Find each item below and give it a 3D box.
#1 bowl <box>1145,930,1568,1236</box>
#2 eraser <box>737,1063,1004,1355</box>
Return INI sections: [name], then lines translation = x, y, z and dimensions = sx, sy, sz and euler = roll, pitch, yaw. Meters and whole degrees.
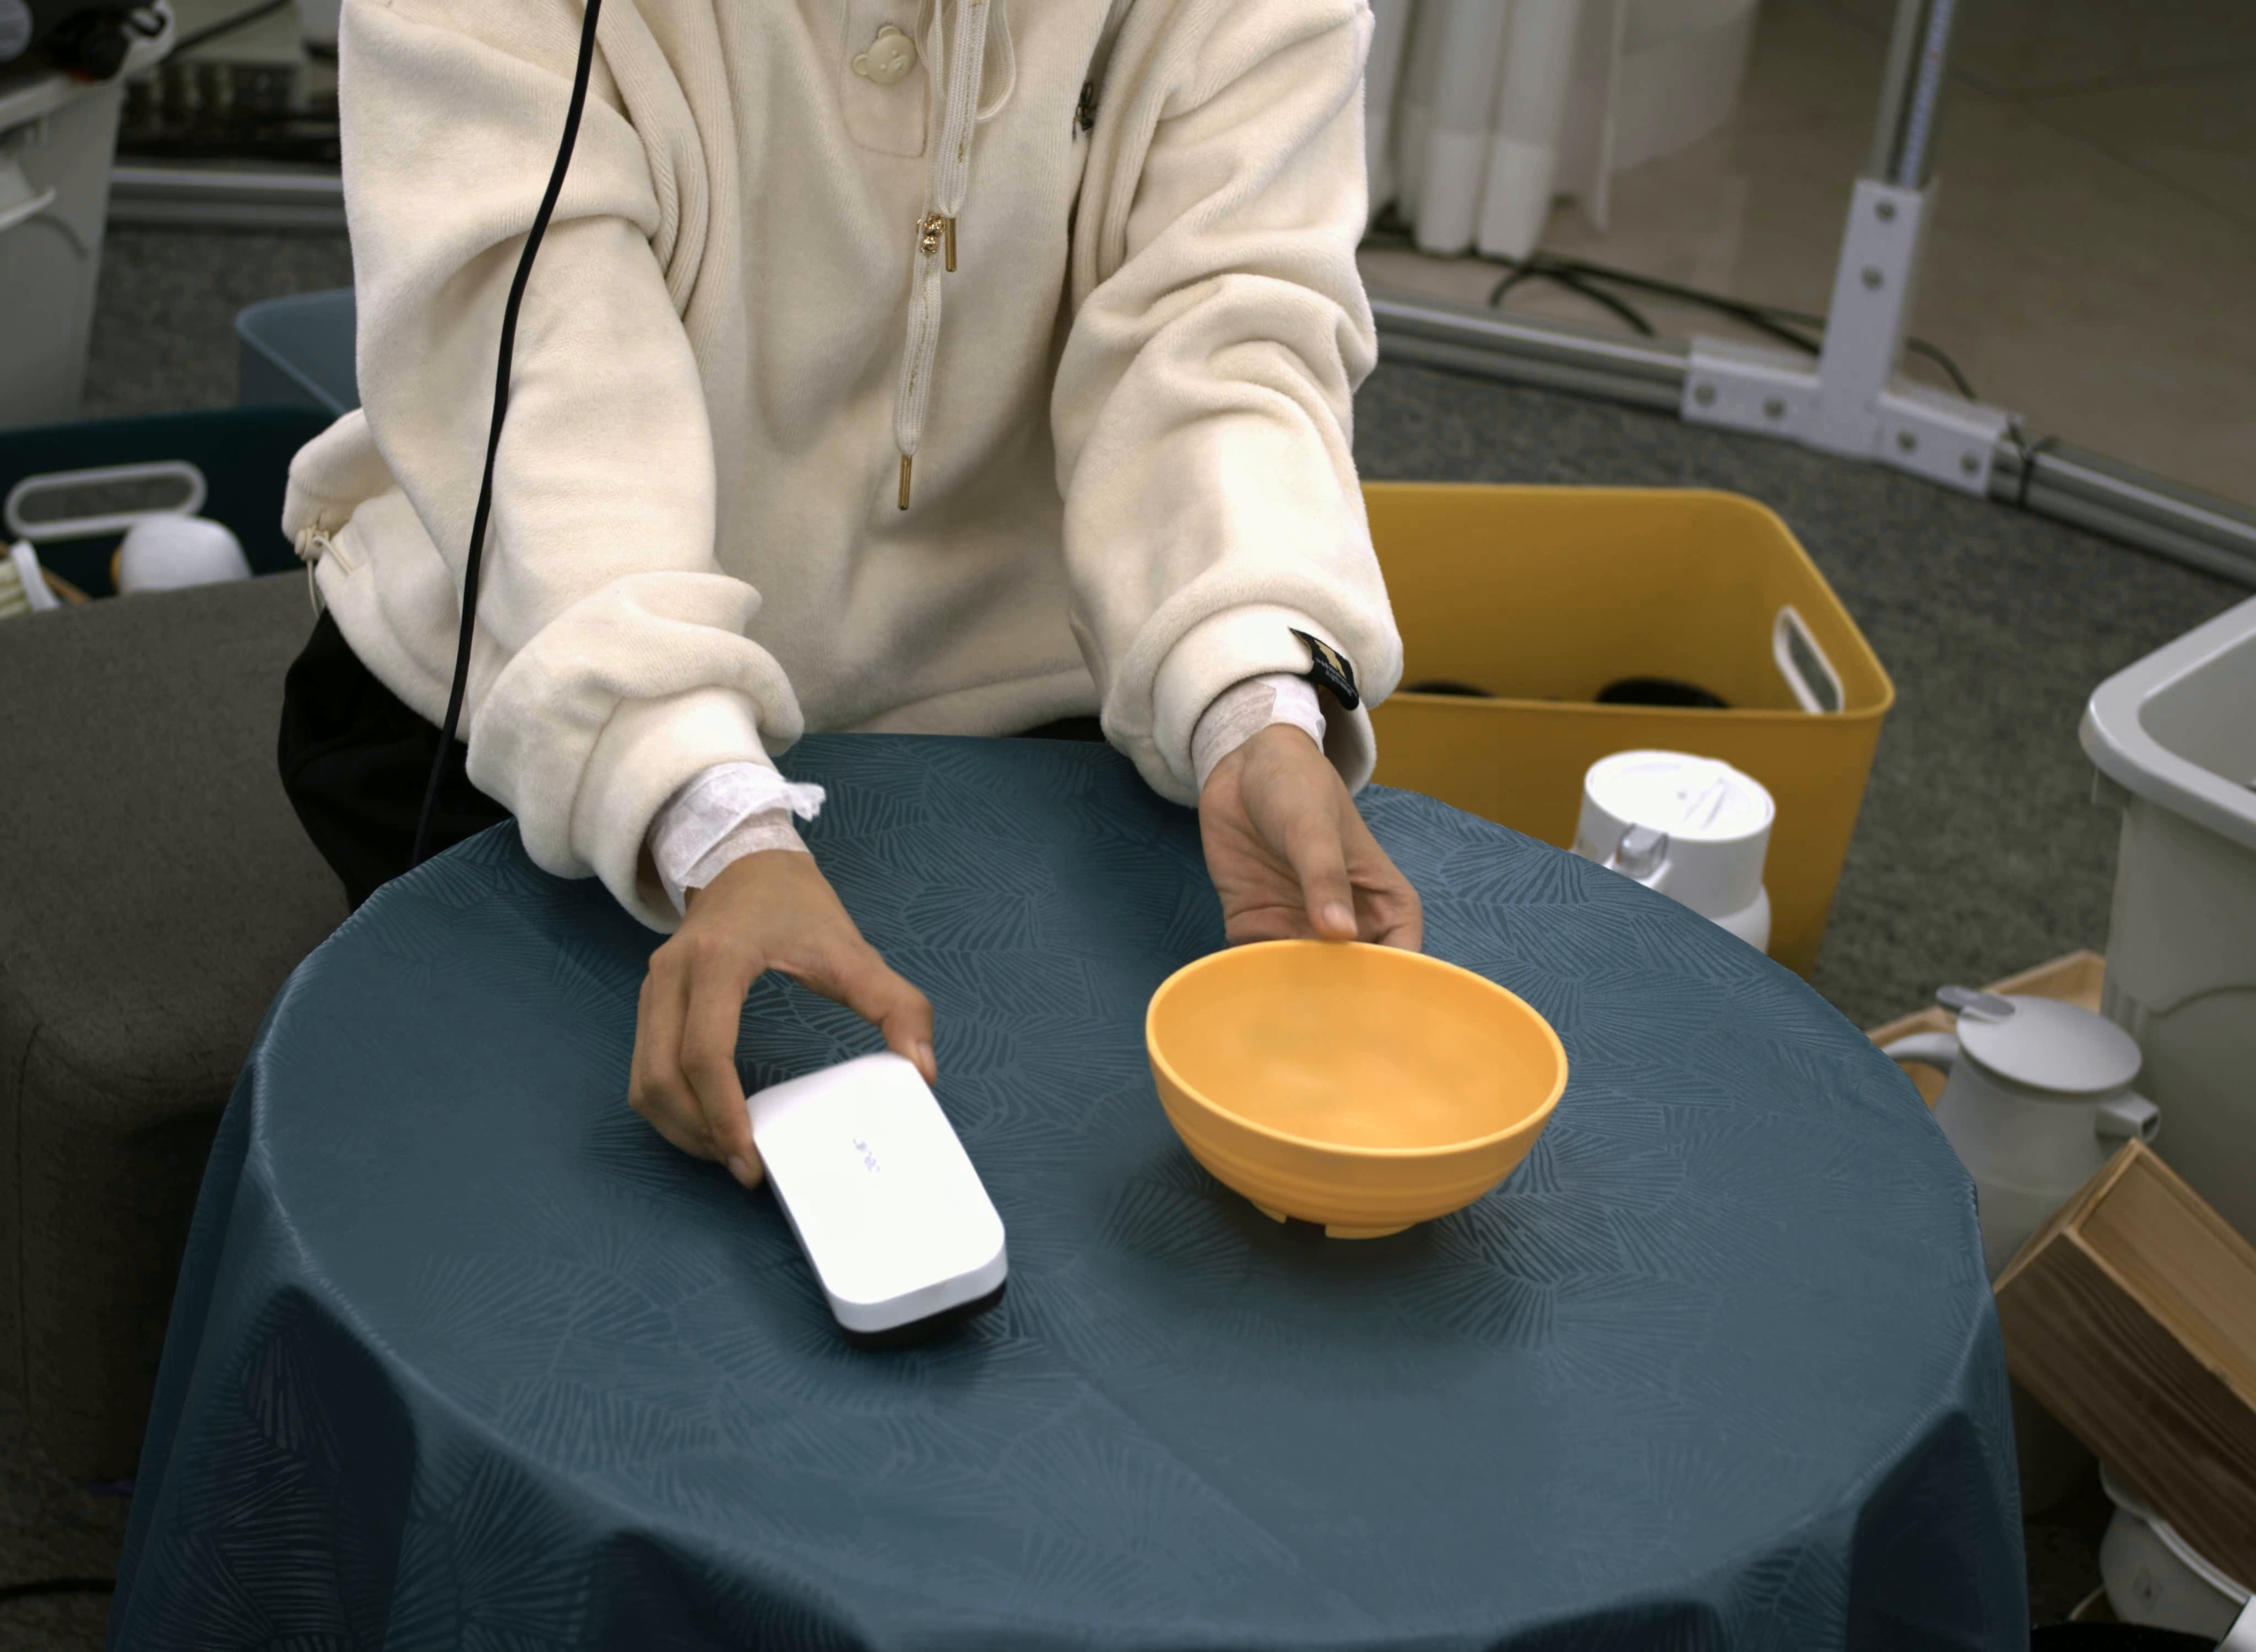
[bowl]
translation = 0.075, 0.097, 1.807
dimensions = 0.145, 0.060, 0.146
euler = 5, 29, -3
[eraser]
translation = -0.083, 0.121, 1.740
dimensions = 0.063, 0.034, 0.132
euler = -15, 33, -12
